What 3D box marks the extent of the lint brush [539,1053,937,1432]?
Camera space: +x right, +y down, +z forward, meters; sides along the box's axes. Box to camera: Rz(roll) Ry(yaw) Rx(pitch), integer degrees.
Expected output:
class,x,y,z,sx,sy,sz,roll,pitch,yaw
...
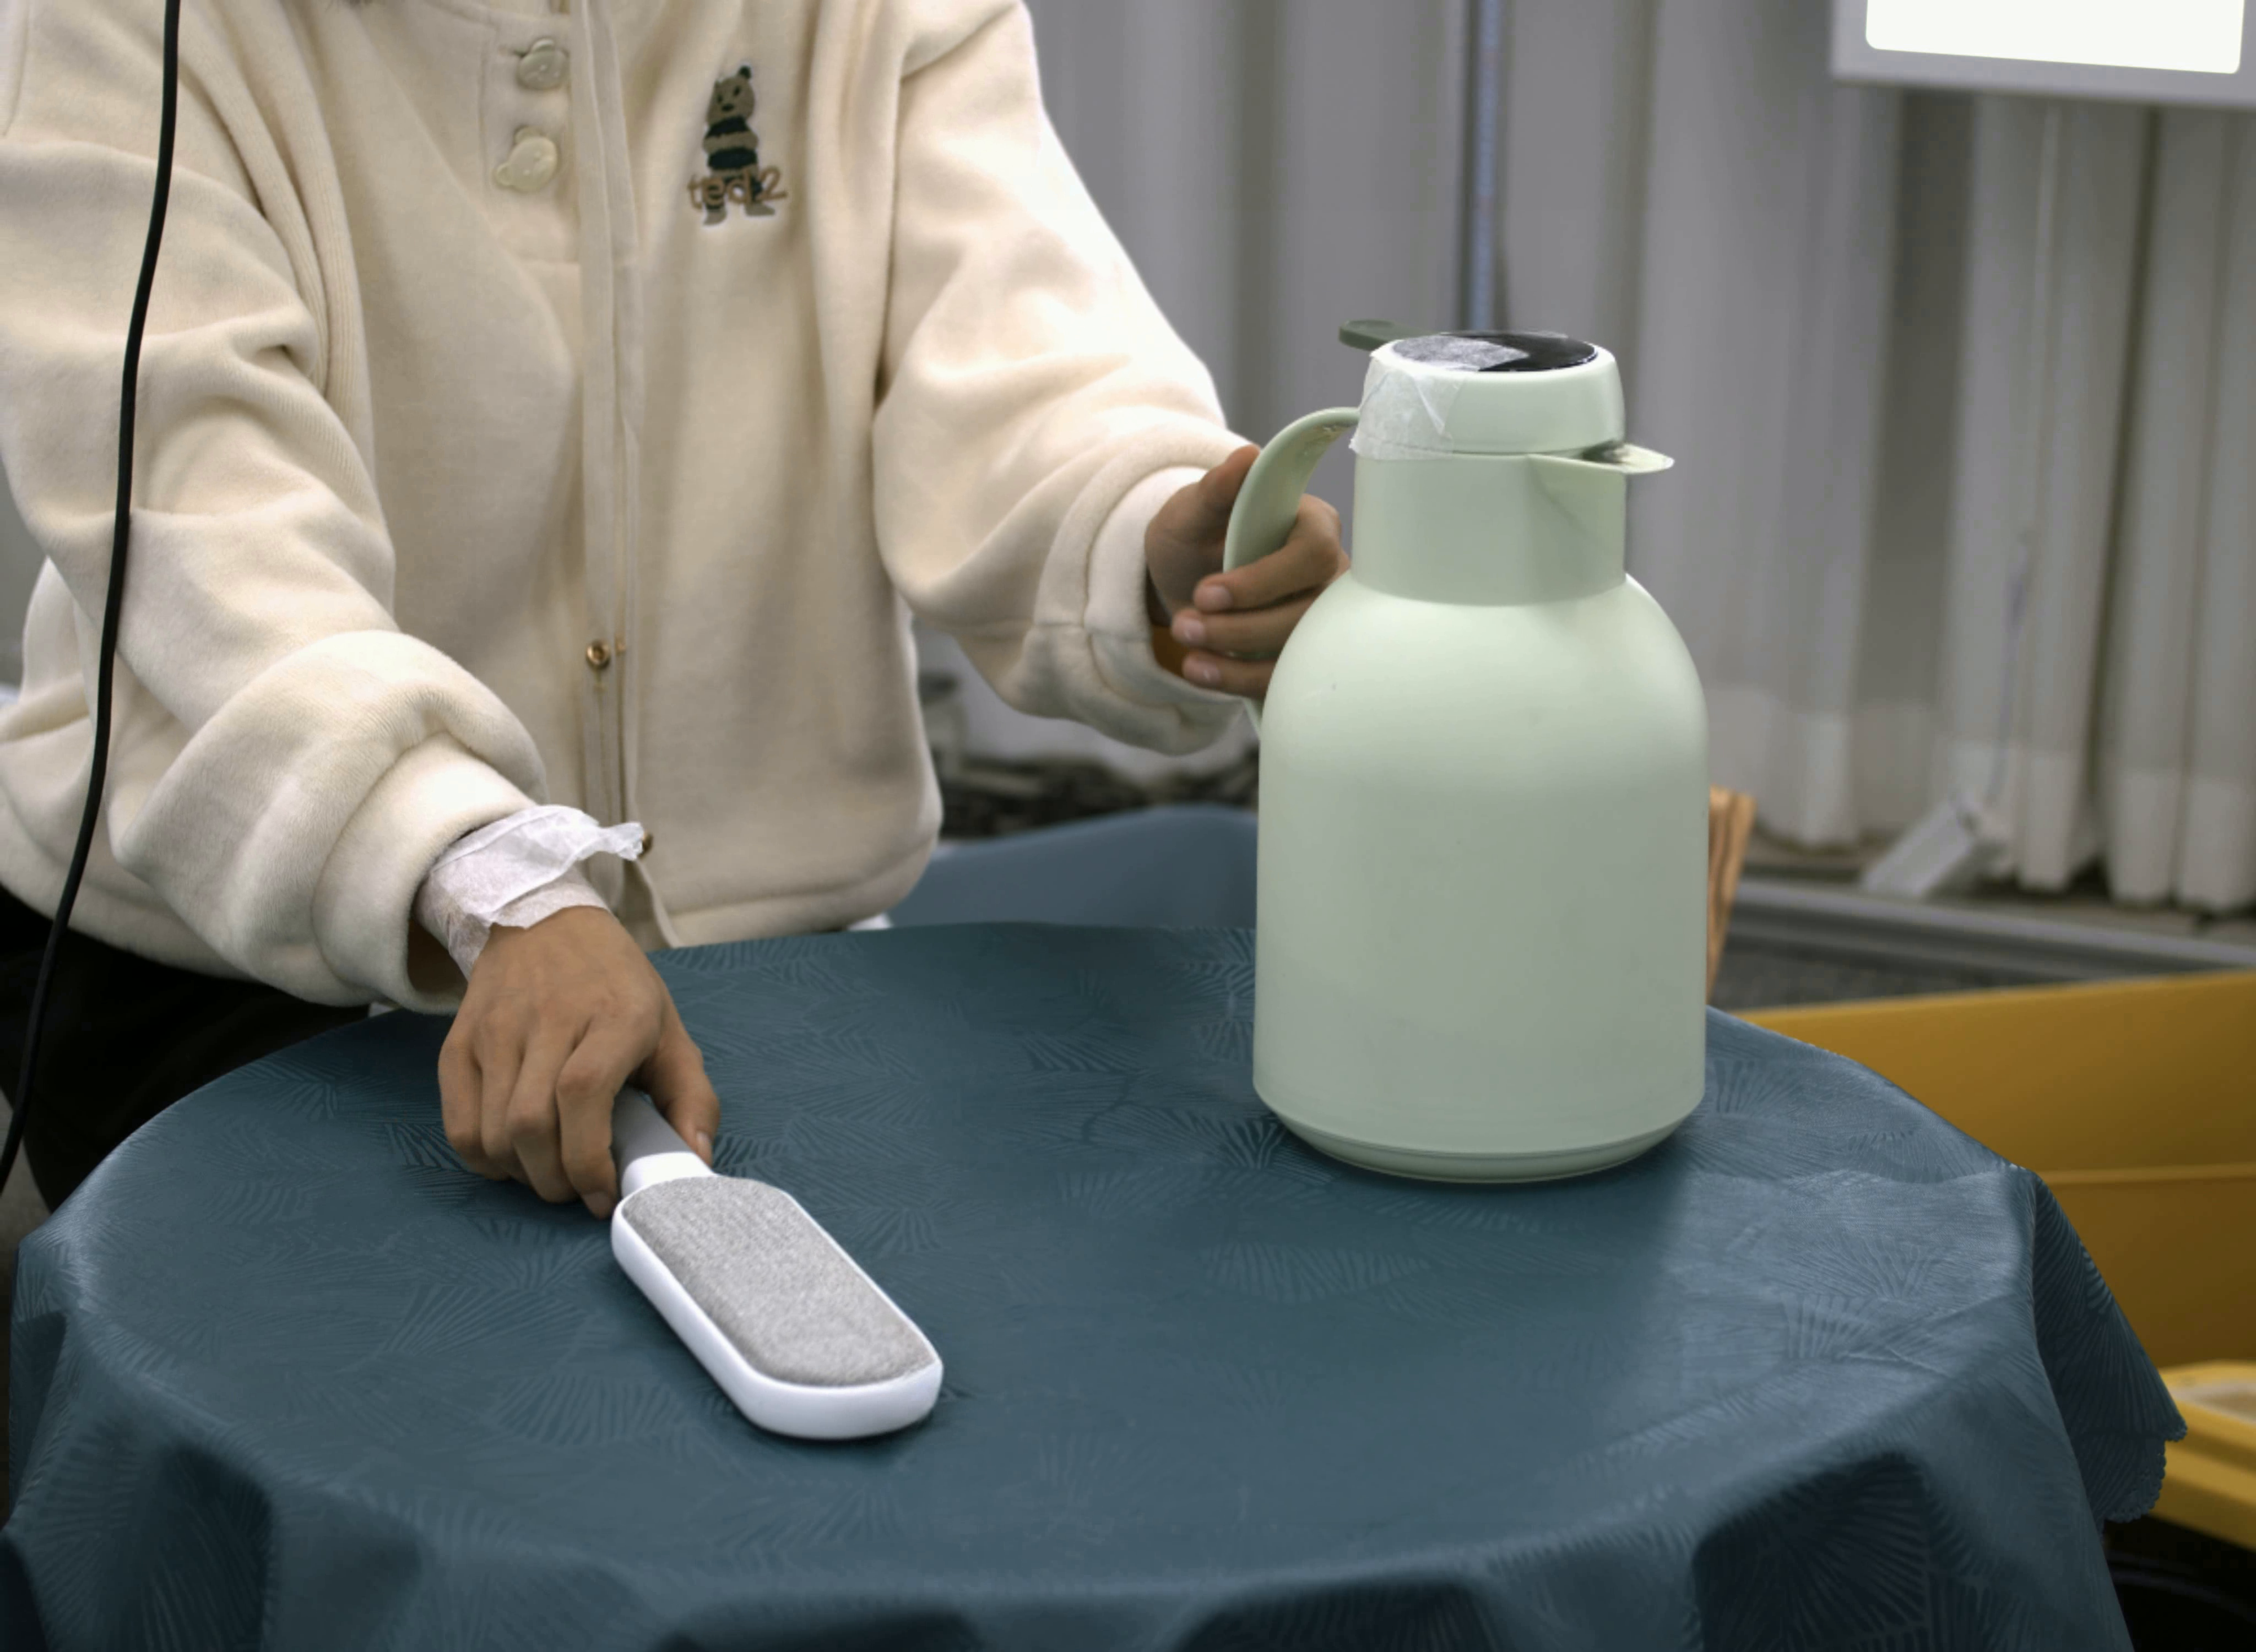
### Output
class,x,y,z,sx,sy,sz,roll,pitch,yaw
lint brush,-0.123,0.118,1.549,0.060,0.021,0.305,-7,17,-20

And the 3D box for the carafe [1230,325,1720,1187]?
class,x,y,z,sx,sy,sz,roll,pitch,yaw
carafe,0.104,-0.028,1.661,0.145,0.259,0.184,-15,18,-38
